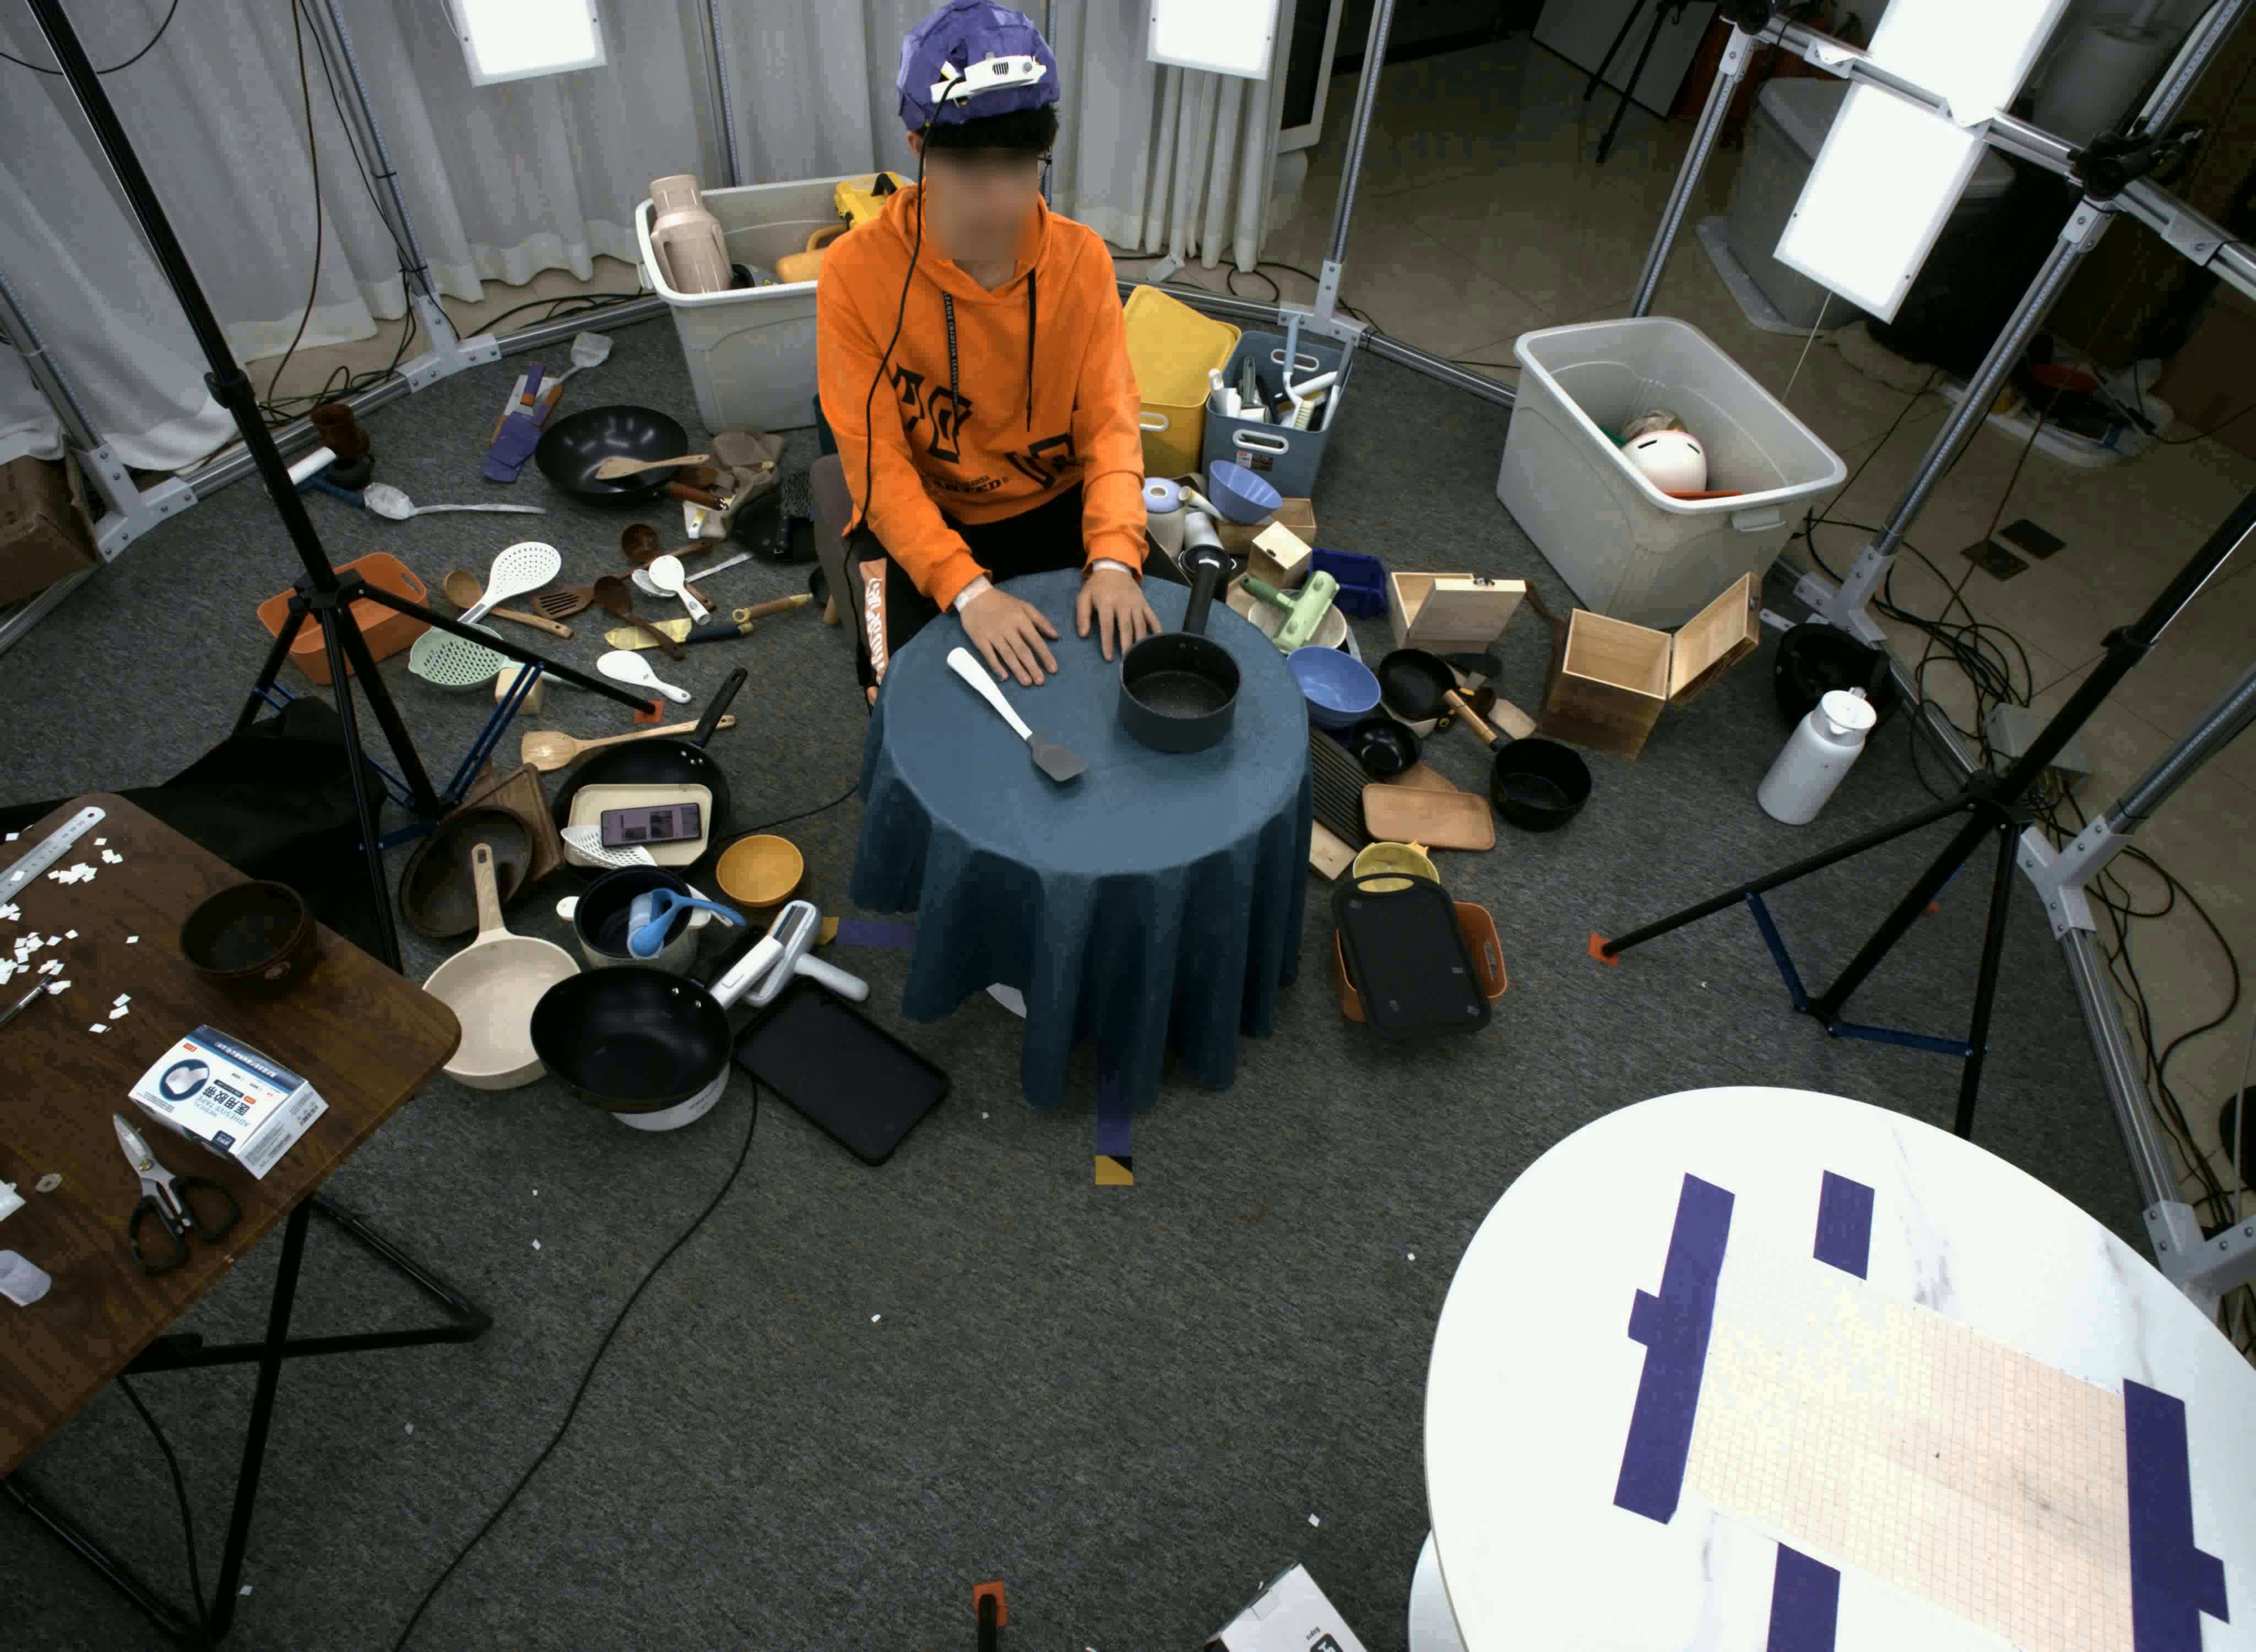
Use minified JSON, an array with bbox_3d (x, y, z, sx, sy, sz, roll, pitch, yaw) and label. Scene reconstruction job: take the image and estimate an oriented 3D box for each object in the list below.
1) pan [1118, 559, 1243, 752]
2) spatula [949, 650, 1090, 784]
[{"bbox_3d":[0.089,-0.247,1.834,0.172,0.084,0.336,13,51,6],"label":"pan"},{"bbox_3d":[-0.155,-0.149,1.768,0.059,0.031,0.293,-25,54,-29],"label":"spatula"}]
